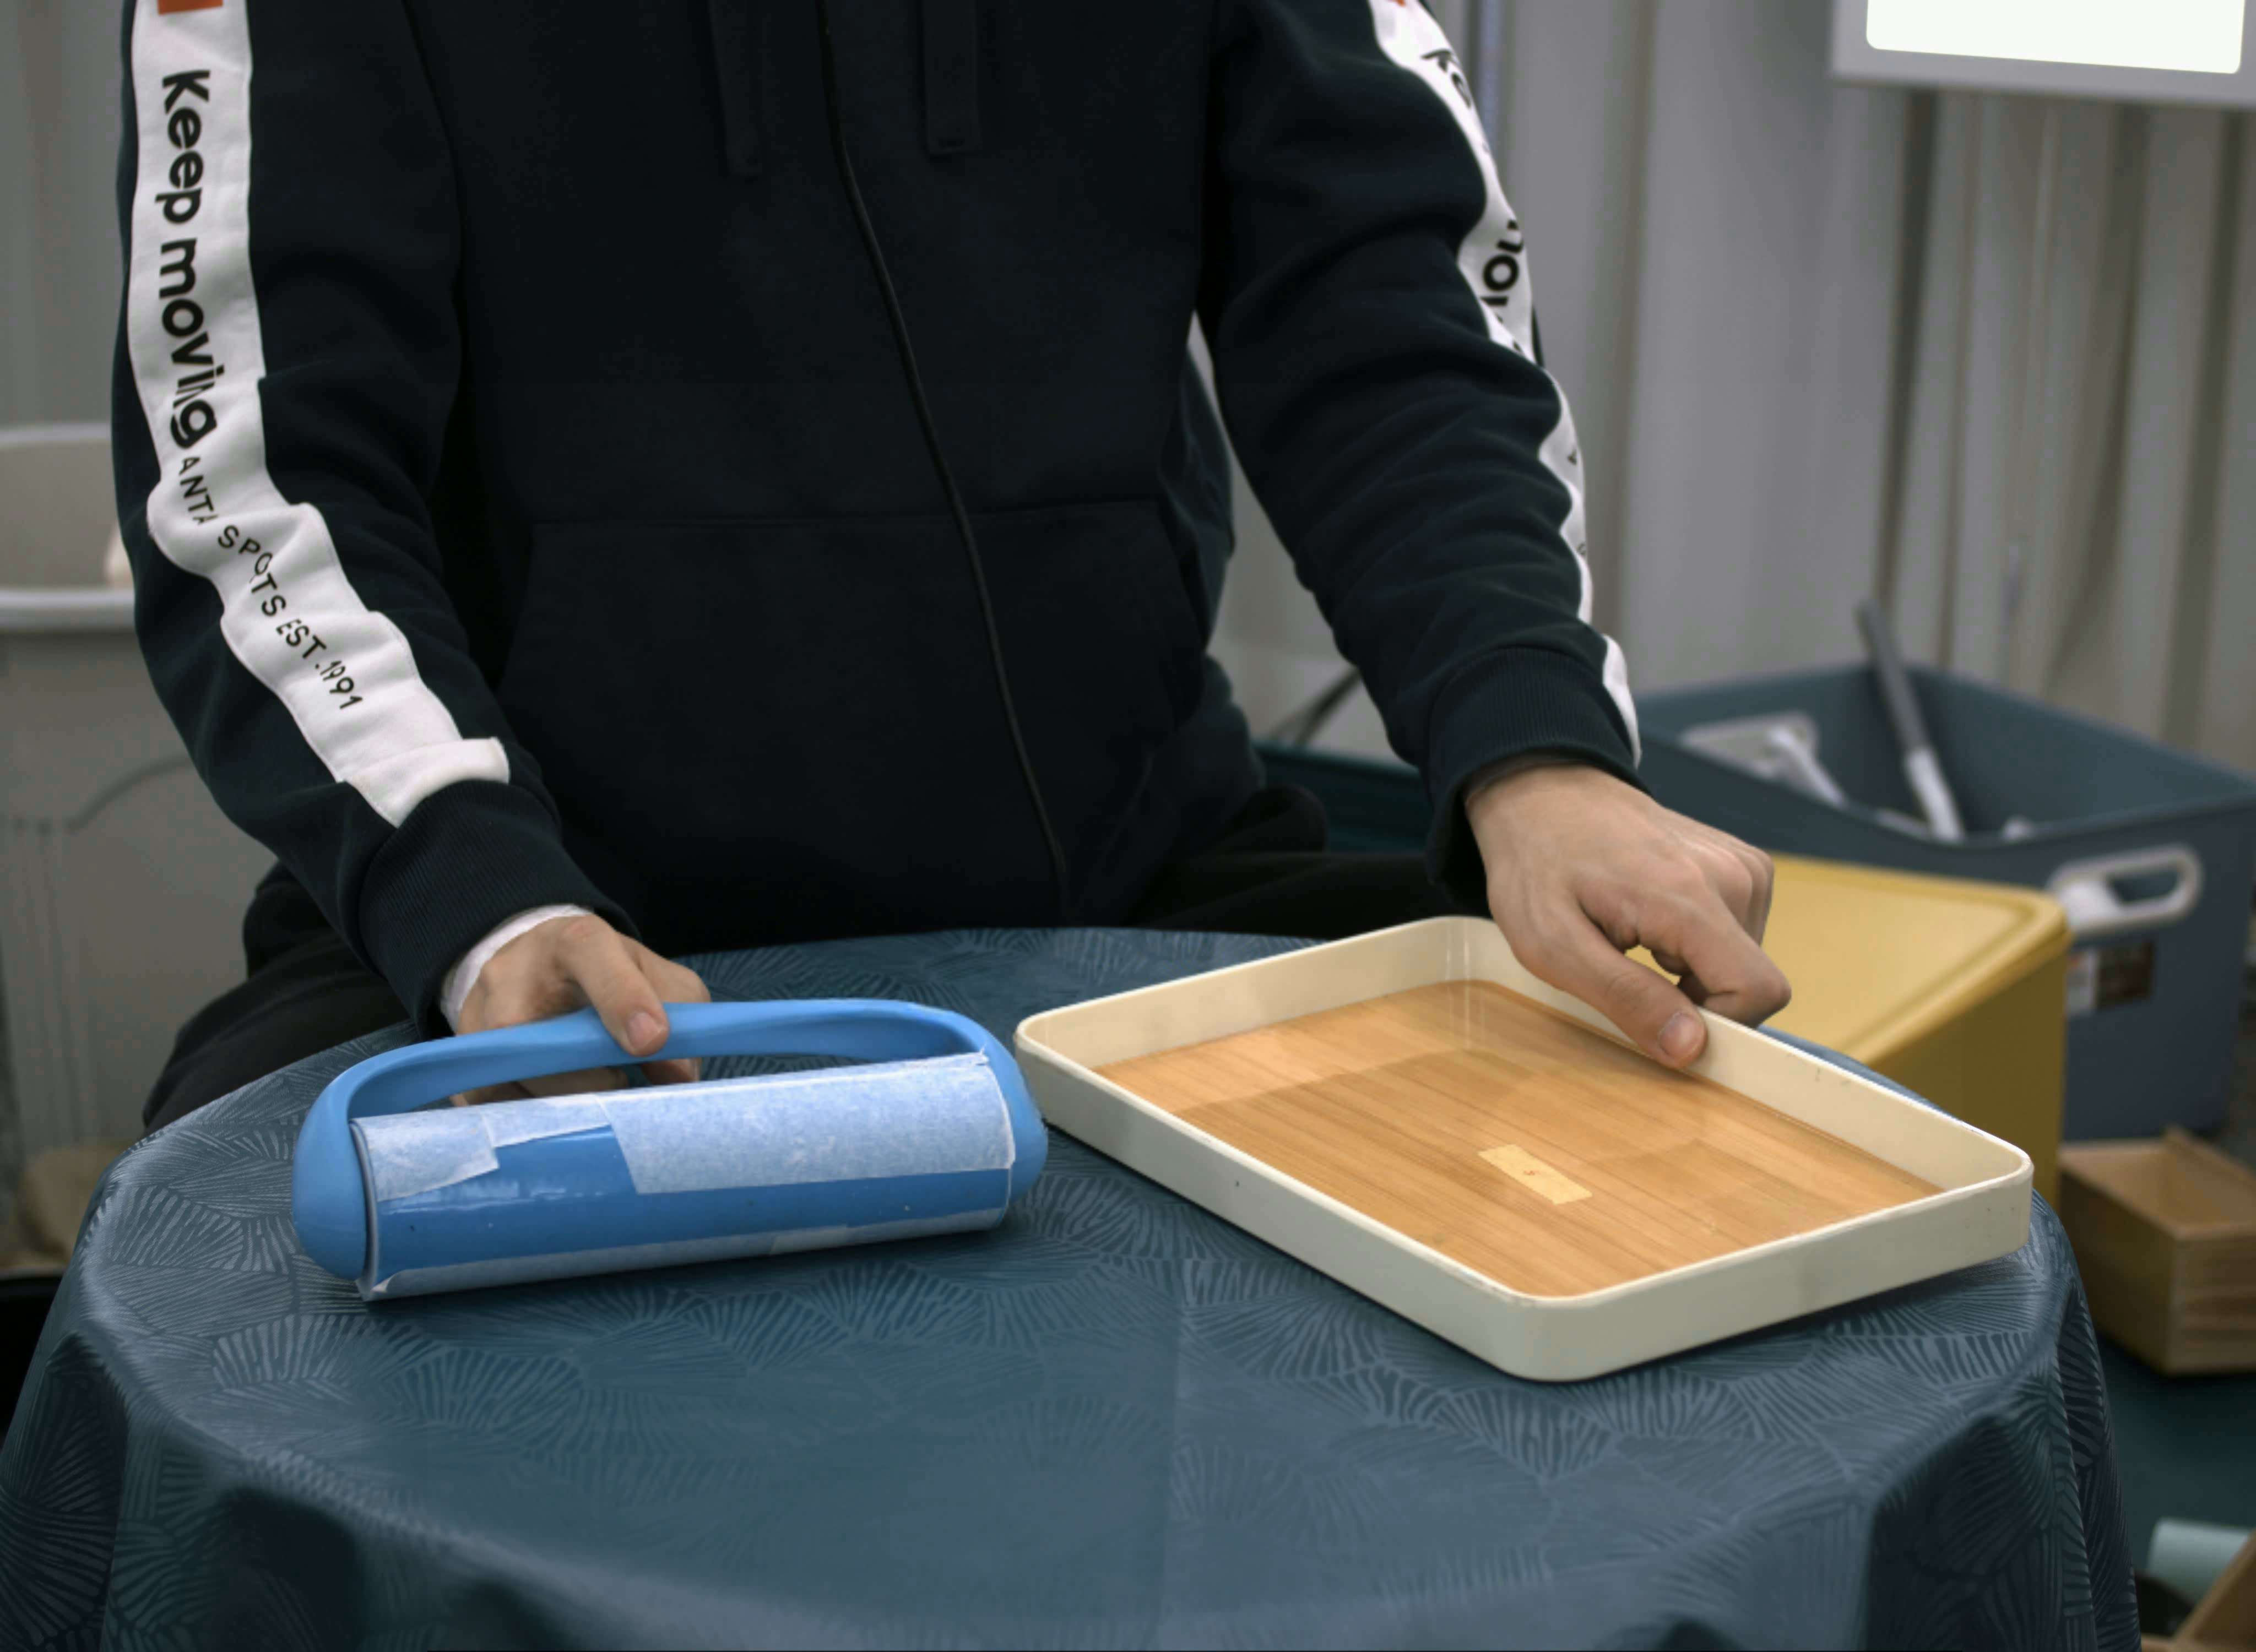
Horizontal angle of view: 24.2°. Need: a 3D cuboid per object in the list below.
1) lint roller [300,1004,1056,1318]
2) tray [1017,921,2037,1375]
[{"bbox_3d":[-0.153,0.088,1.599,0.229,0.068,0.178,-8,19,-23],"label":"lint roller"},{"bbox_3d":[0.116,0.094,1.621,0.192,0.027,0.296,-12,20,-30],"label":"tray"}]
